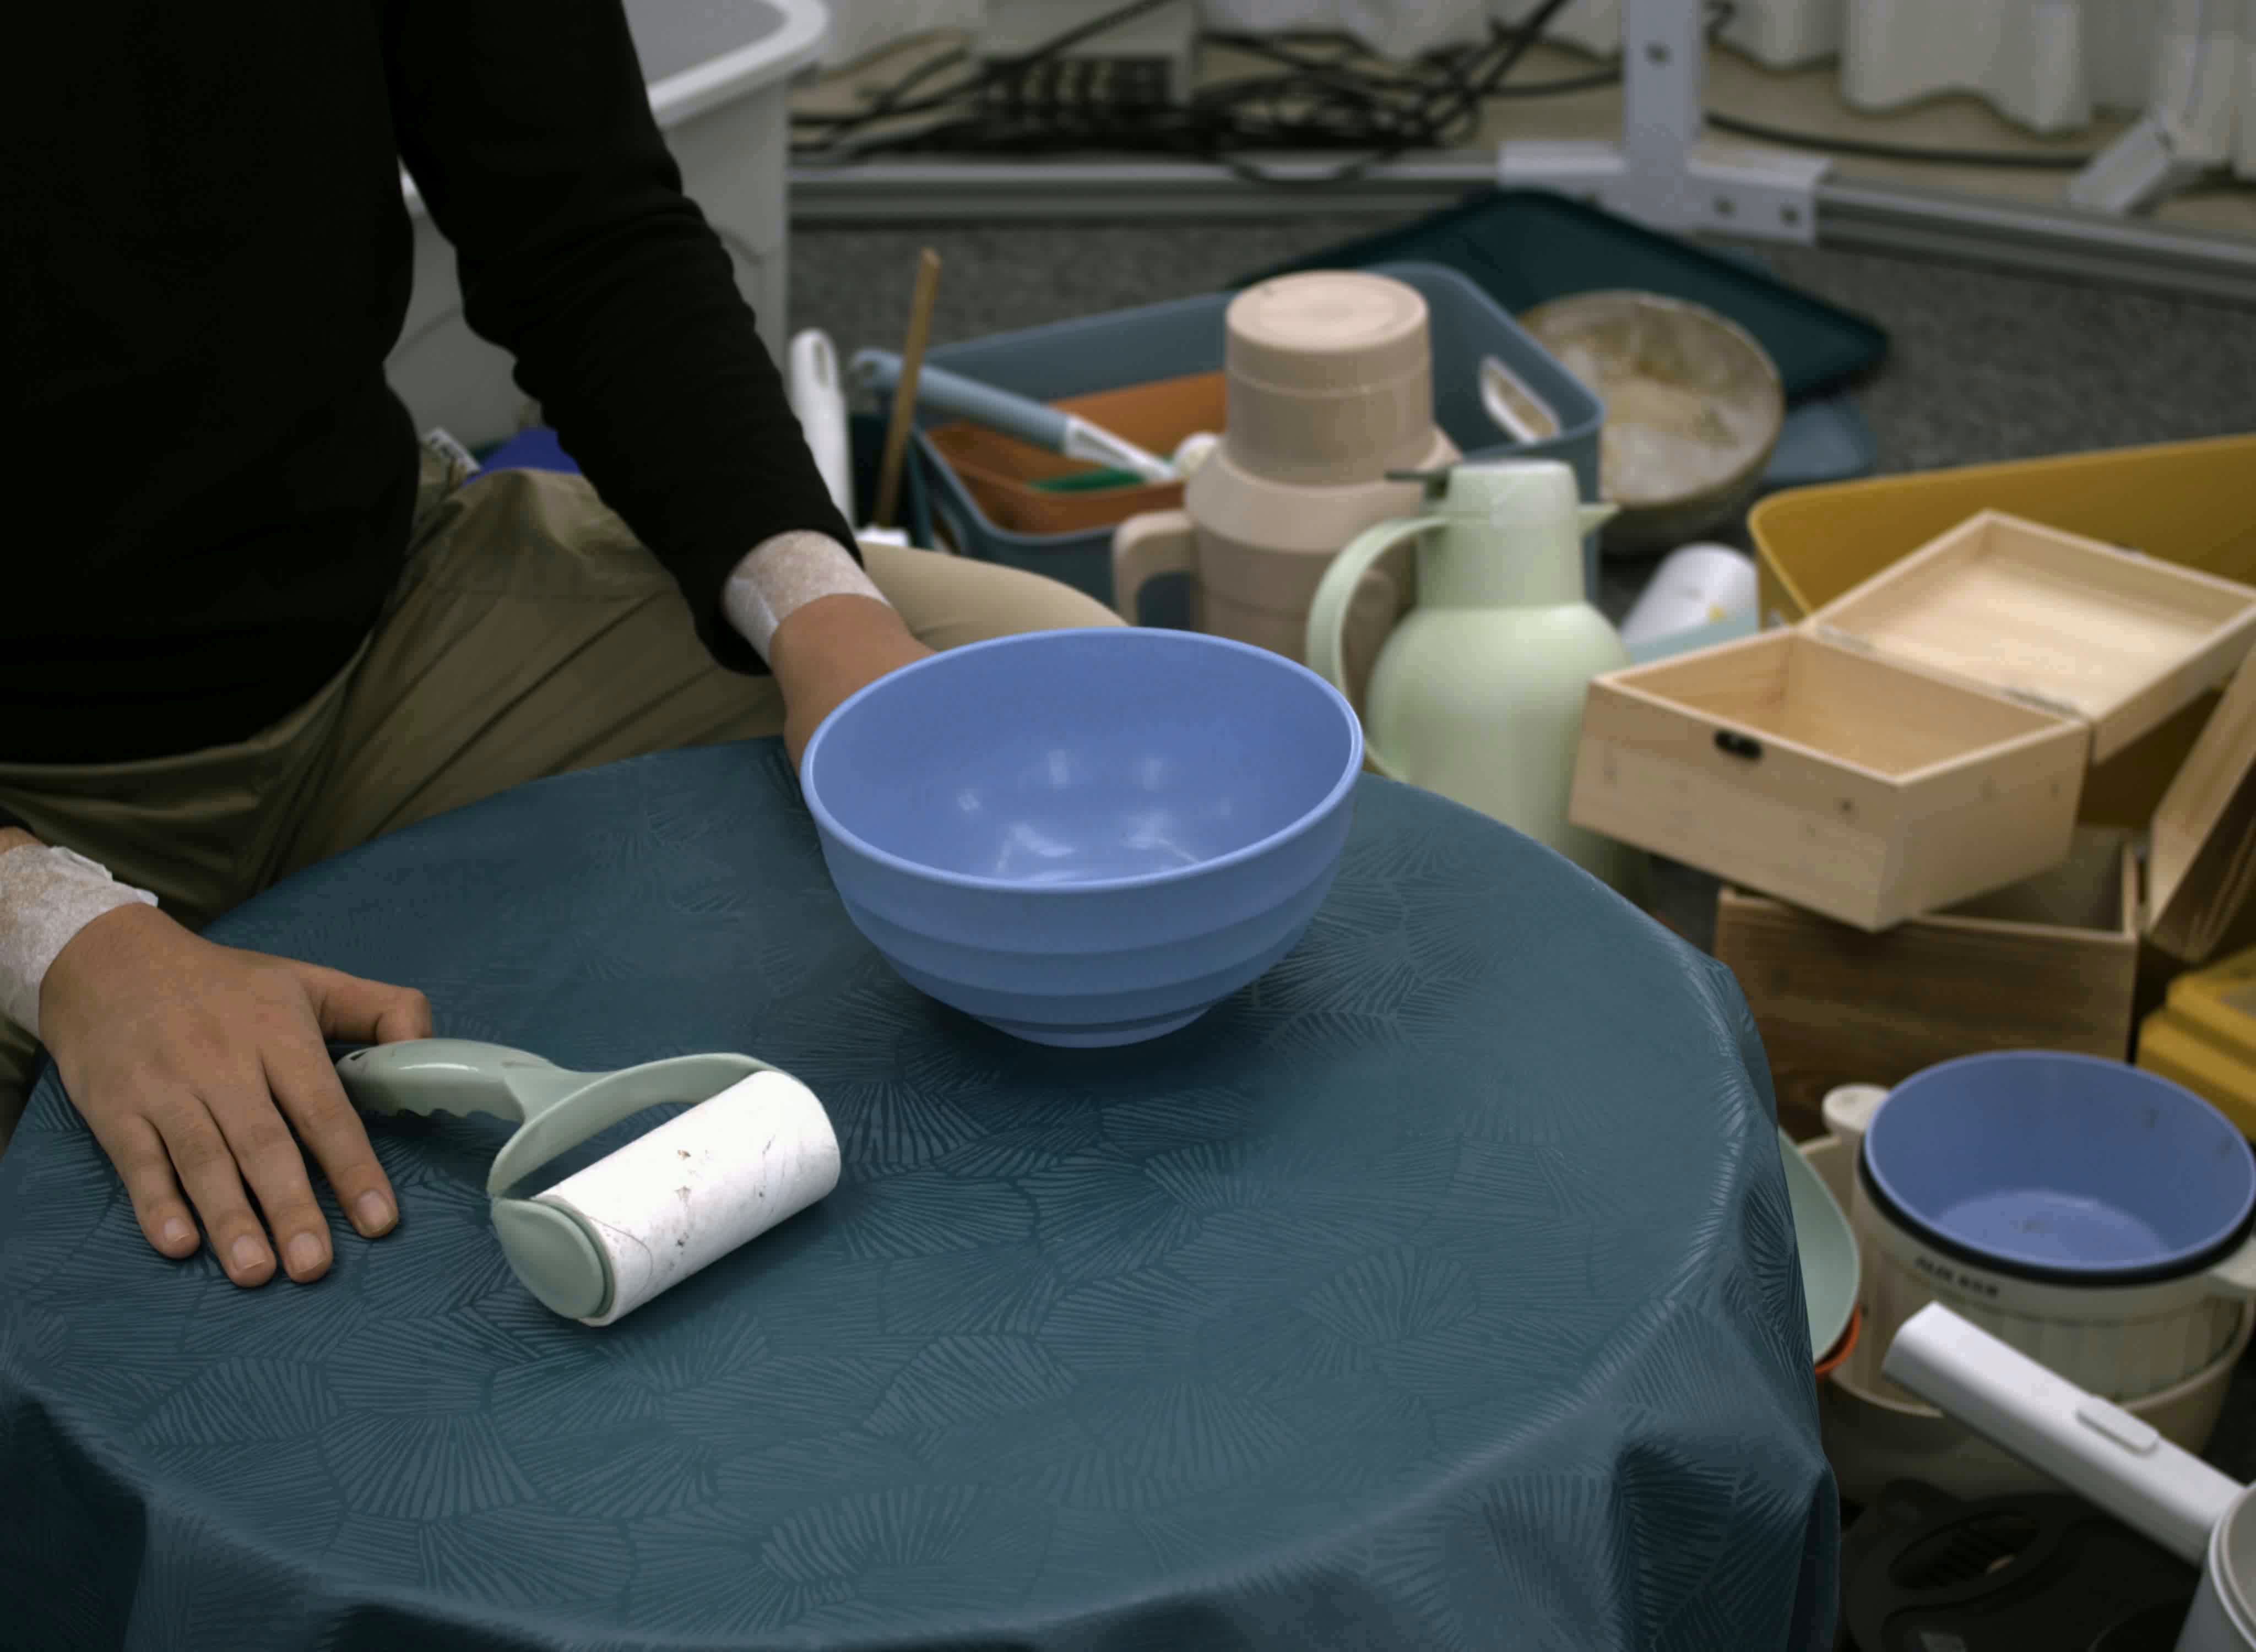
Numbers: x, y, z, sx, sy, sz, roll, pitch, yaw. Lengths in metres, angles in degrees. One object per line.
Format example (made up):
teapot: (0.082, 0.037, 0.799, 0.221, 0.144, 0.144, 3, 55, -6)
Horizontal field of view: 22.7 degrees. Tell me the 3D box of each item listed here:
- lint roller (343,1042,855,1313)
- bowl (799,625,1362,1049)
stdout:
lint roller: (-0.193, 0.099, 1.877, 0.197, 0.048, 0.118, 19, 36, 39)
bowl: (-0.013, 0.014, 1.966, 0.195, 0.094, 0.199, -3, 28, 2)
